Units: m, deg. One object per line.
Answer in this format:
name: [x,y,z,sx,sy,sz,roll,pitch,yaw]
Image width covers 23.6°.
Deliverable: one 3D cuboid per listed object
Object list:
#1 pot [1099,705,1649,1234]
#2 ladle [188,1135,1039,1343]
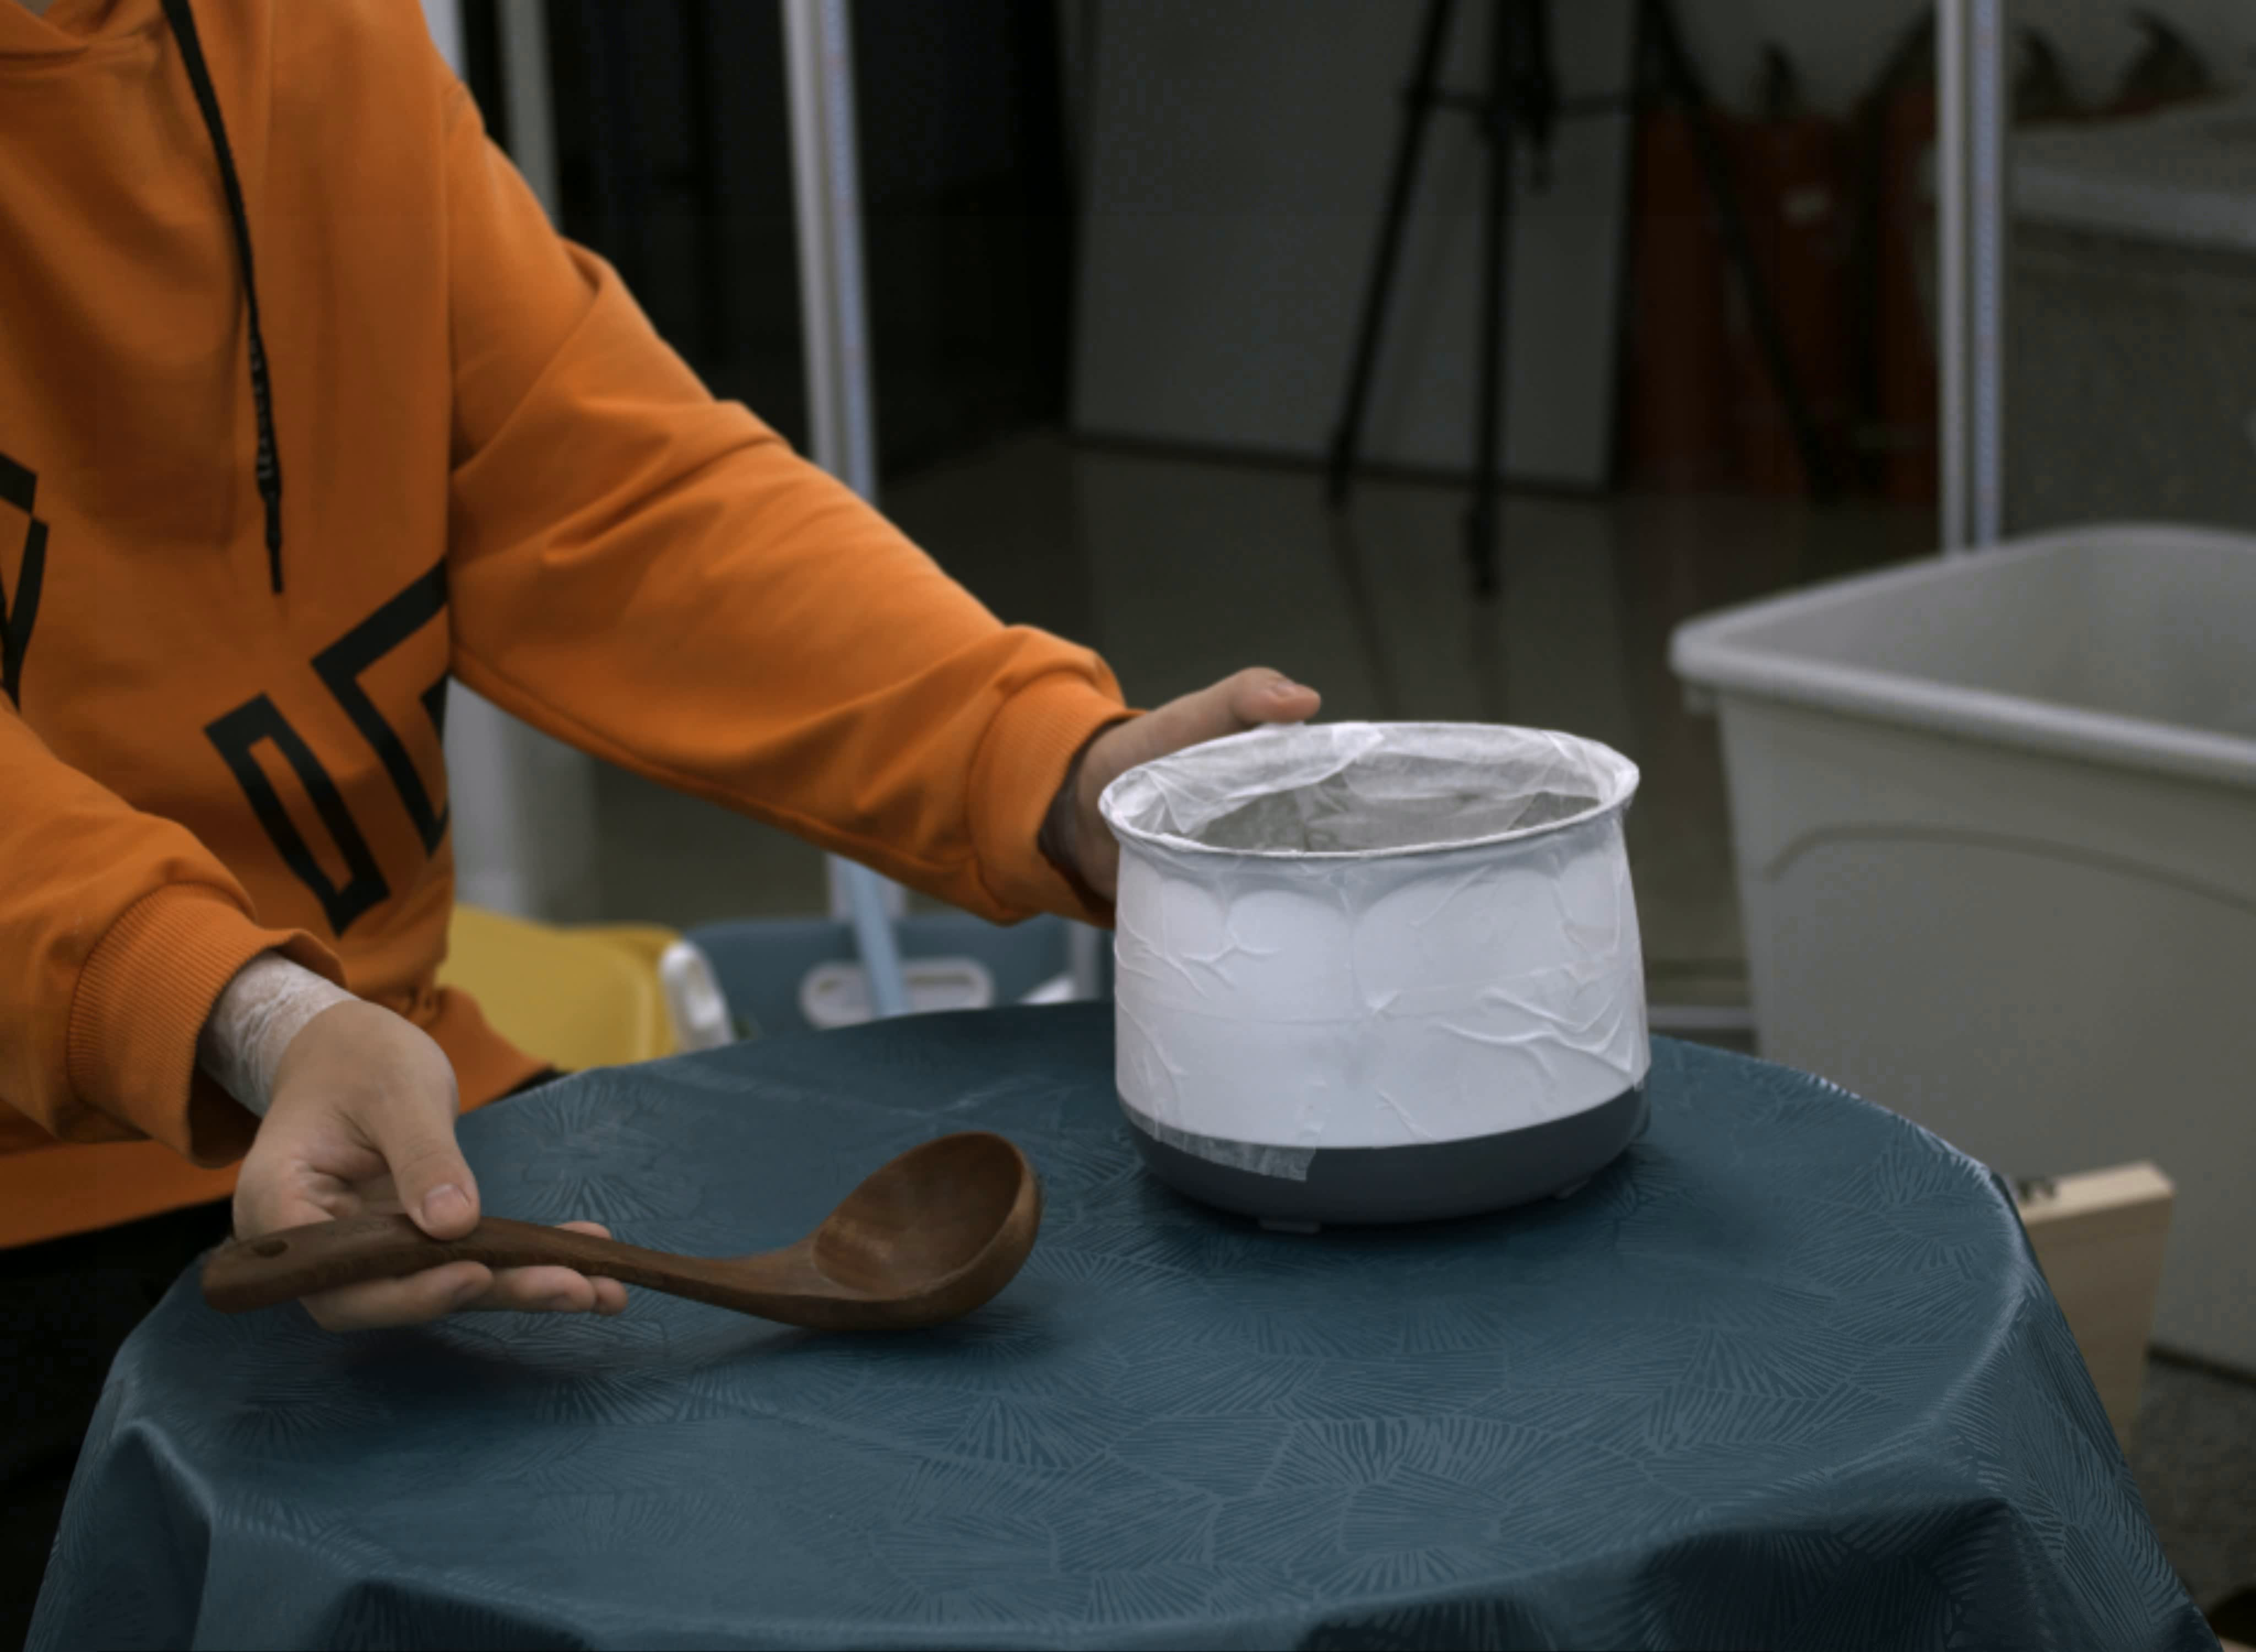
pot: [0.073,0.041,1.783,0.175,0.138,0.235,-7,14,-15]
ladle: [-0.150,0.120,1.621,0.254,0.066,0.077,5,15,-21]
